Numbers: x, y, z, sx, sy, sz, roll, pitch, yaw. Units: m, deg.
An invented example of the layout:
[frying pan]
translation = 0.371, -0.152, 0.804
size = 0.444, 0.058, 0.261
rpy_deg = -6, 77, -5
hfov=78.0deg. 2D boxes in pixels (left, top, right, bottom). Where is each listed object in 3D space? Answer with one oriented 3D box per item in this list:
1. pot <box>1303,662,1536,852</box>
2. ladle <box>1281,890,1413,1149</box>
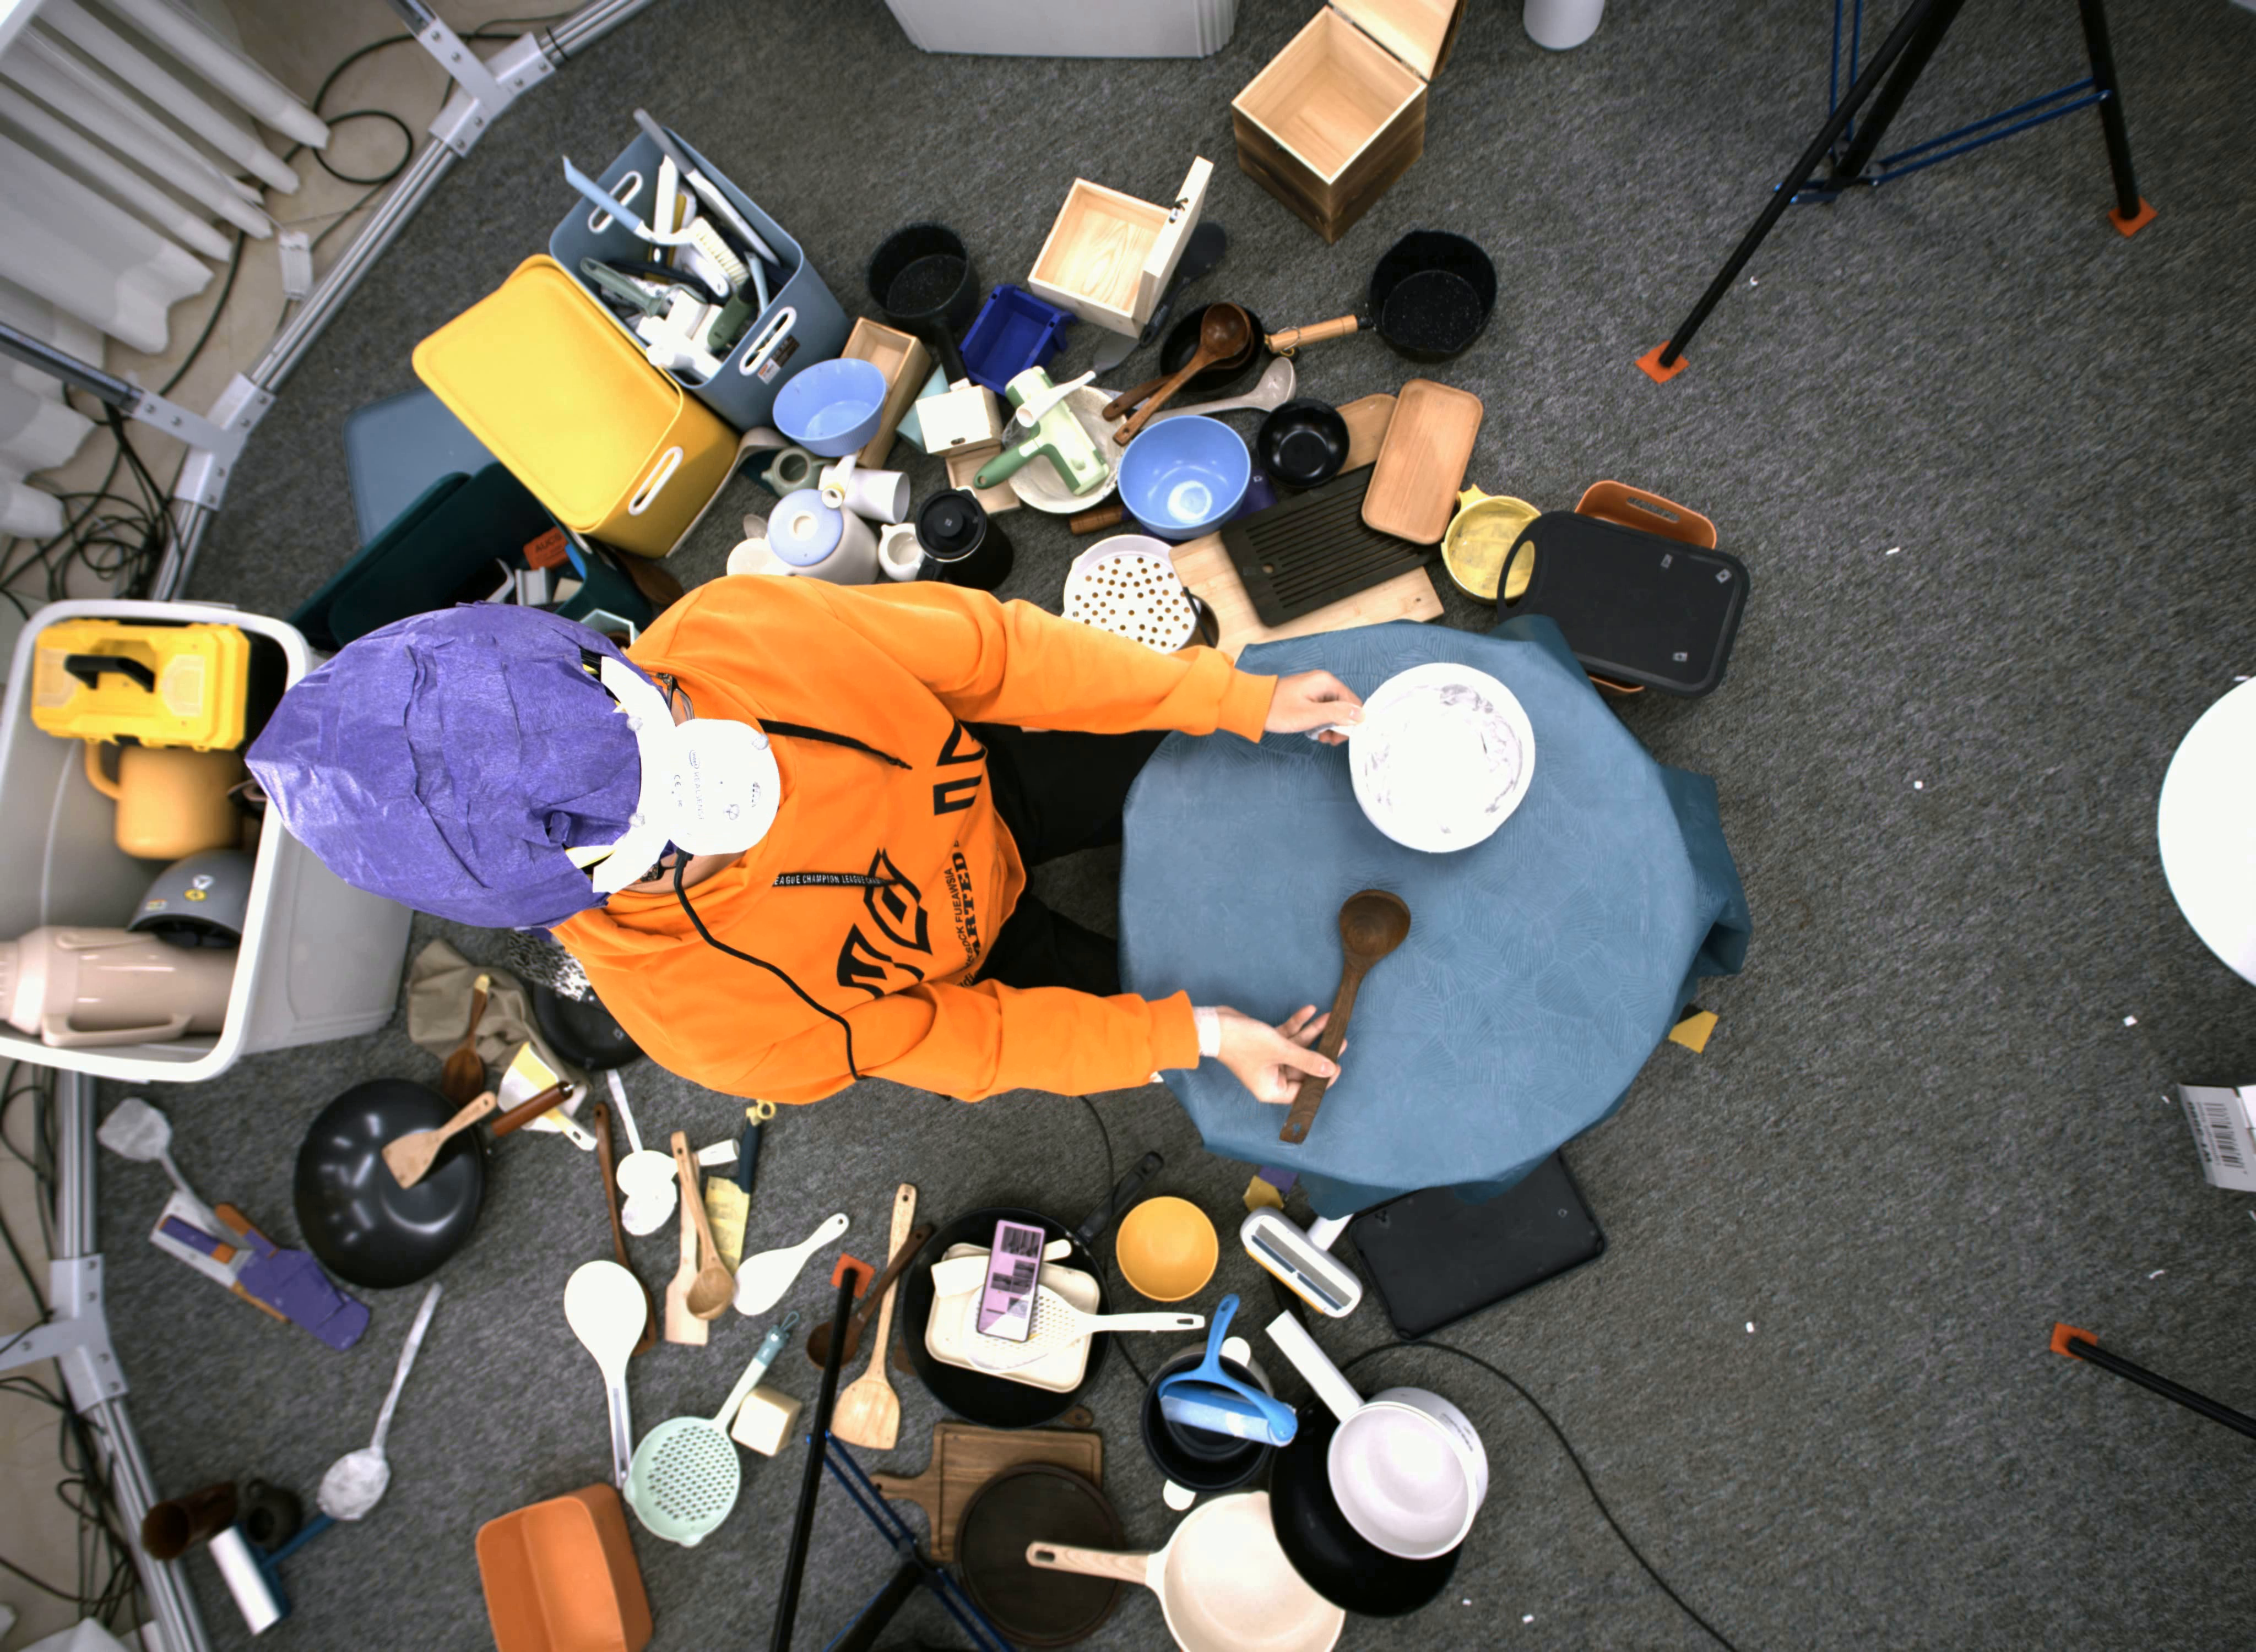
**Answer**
[pot]
translation = 0.288, -0.075, 1.395
size = 0.234, 0.137, 0.178
rpy_deg = 20, 89, 11
[ladle]
translation = 0.217, 0.195, 1.412
size = 0.076, 0.072, 0.271
rpy_deg = 21, 81, 6
